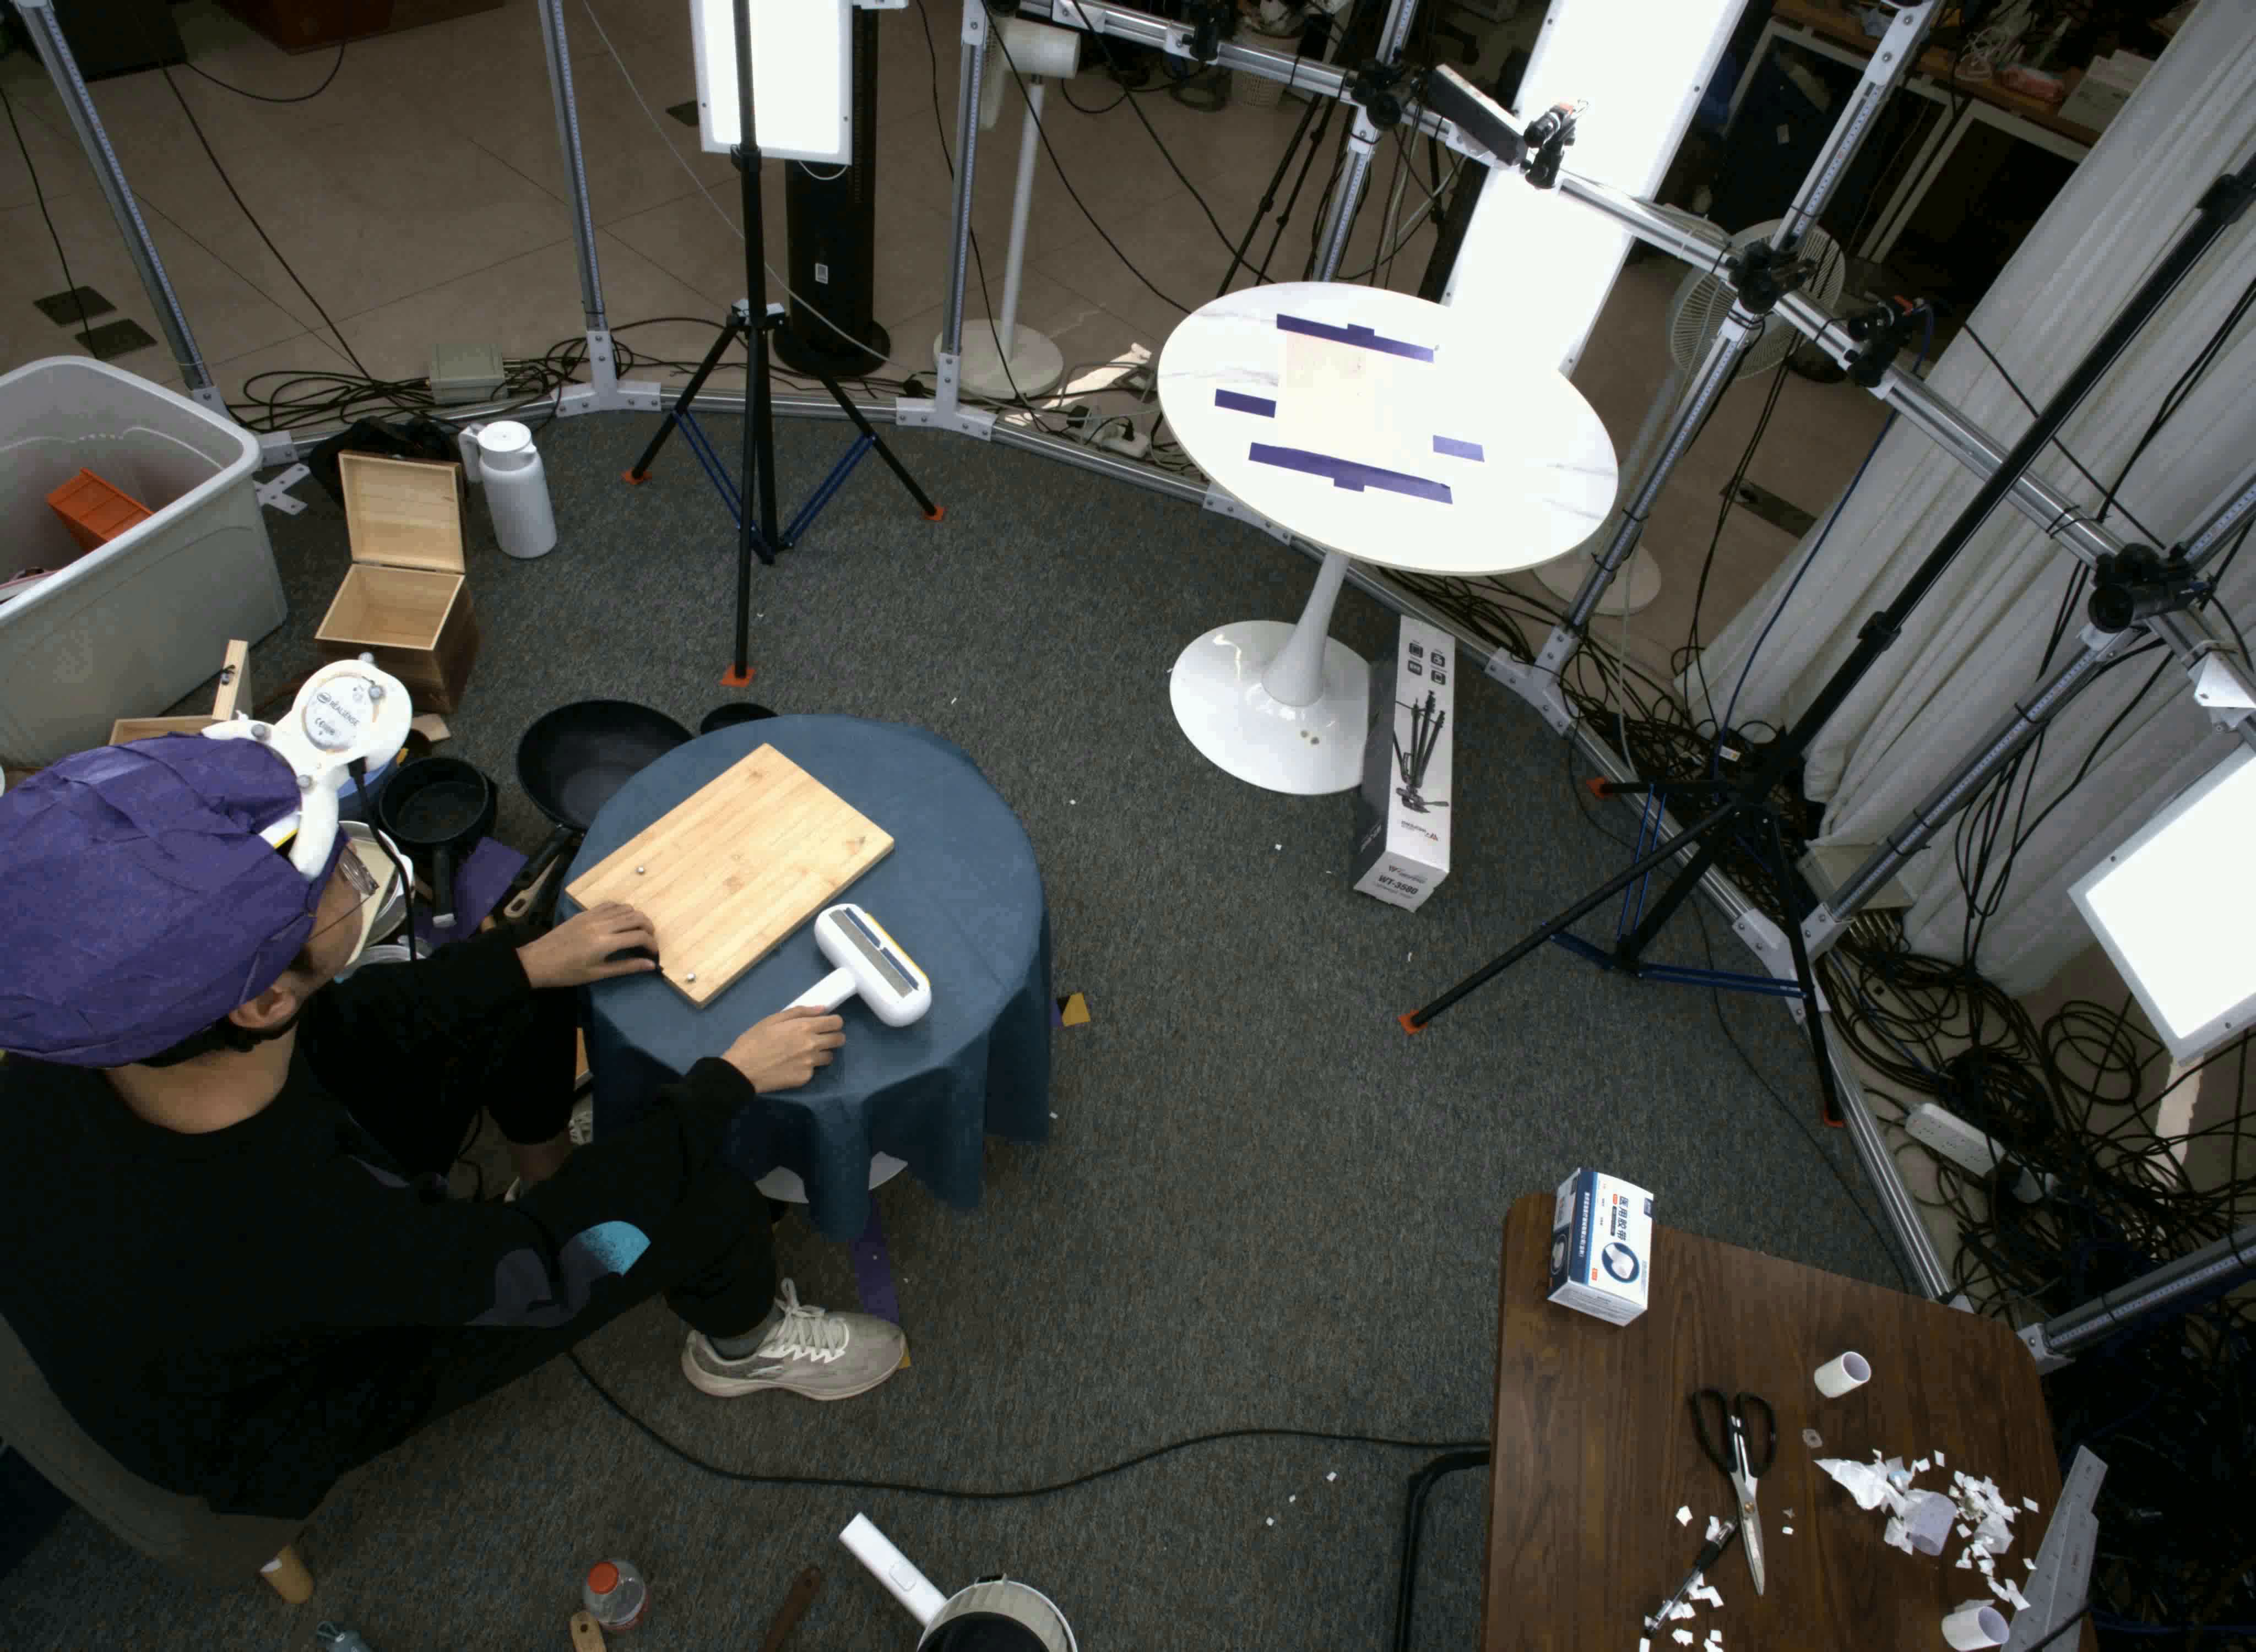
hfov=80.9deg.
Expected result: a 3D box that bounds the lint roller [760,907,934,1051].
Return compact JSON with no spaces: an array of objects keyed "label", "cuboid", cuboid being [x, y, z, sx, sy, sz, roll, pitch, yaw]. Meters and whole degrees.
[{"label":"lint roller","cuboid":[-0.354,0.199,1.558,0.193,0.076,0.187,-27,59,-28]}]

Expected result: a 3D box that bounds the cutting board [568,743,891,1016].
[{"label":"cutting board","cuboid":[-0.508,0.056,1.656,0.246,0.024,0.348,36,53,12]}]
